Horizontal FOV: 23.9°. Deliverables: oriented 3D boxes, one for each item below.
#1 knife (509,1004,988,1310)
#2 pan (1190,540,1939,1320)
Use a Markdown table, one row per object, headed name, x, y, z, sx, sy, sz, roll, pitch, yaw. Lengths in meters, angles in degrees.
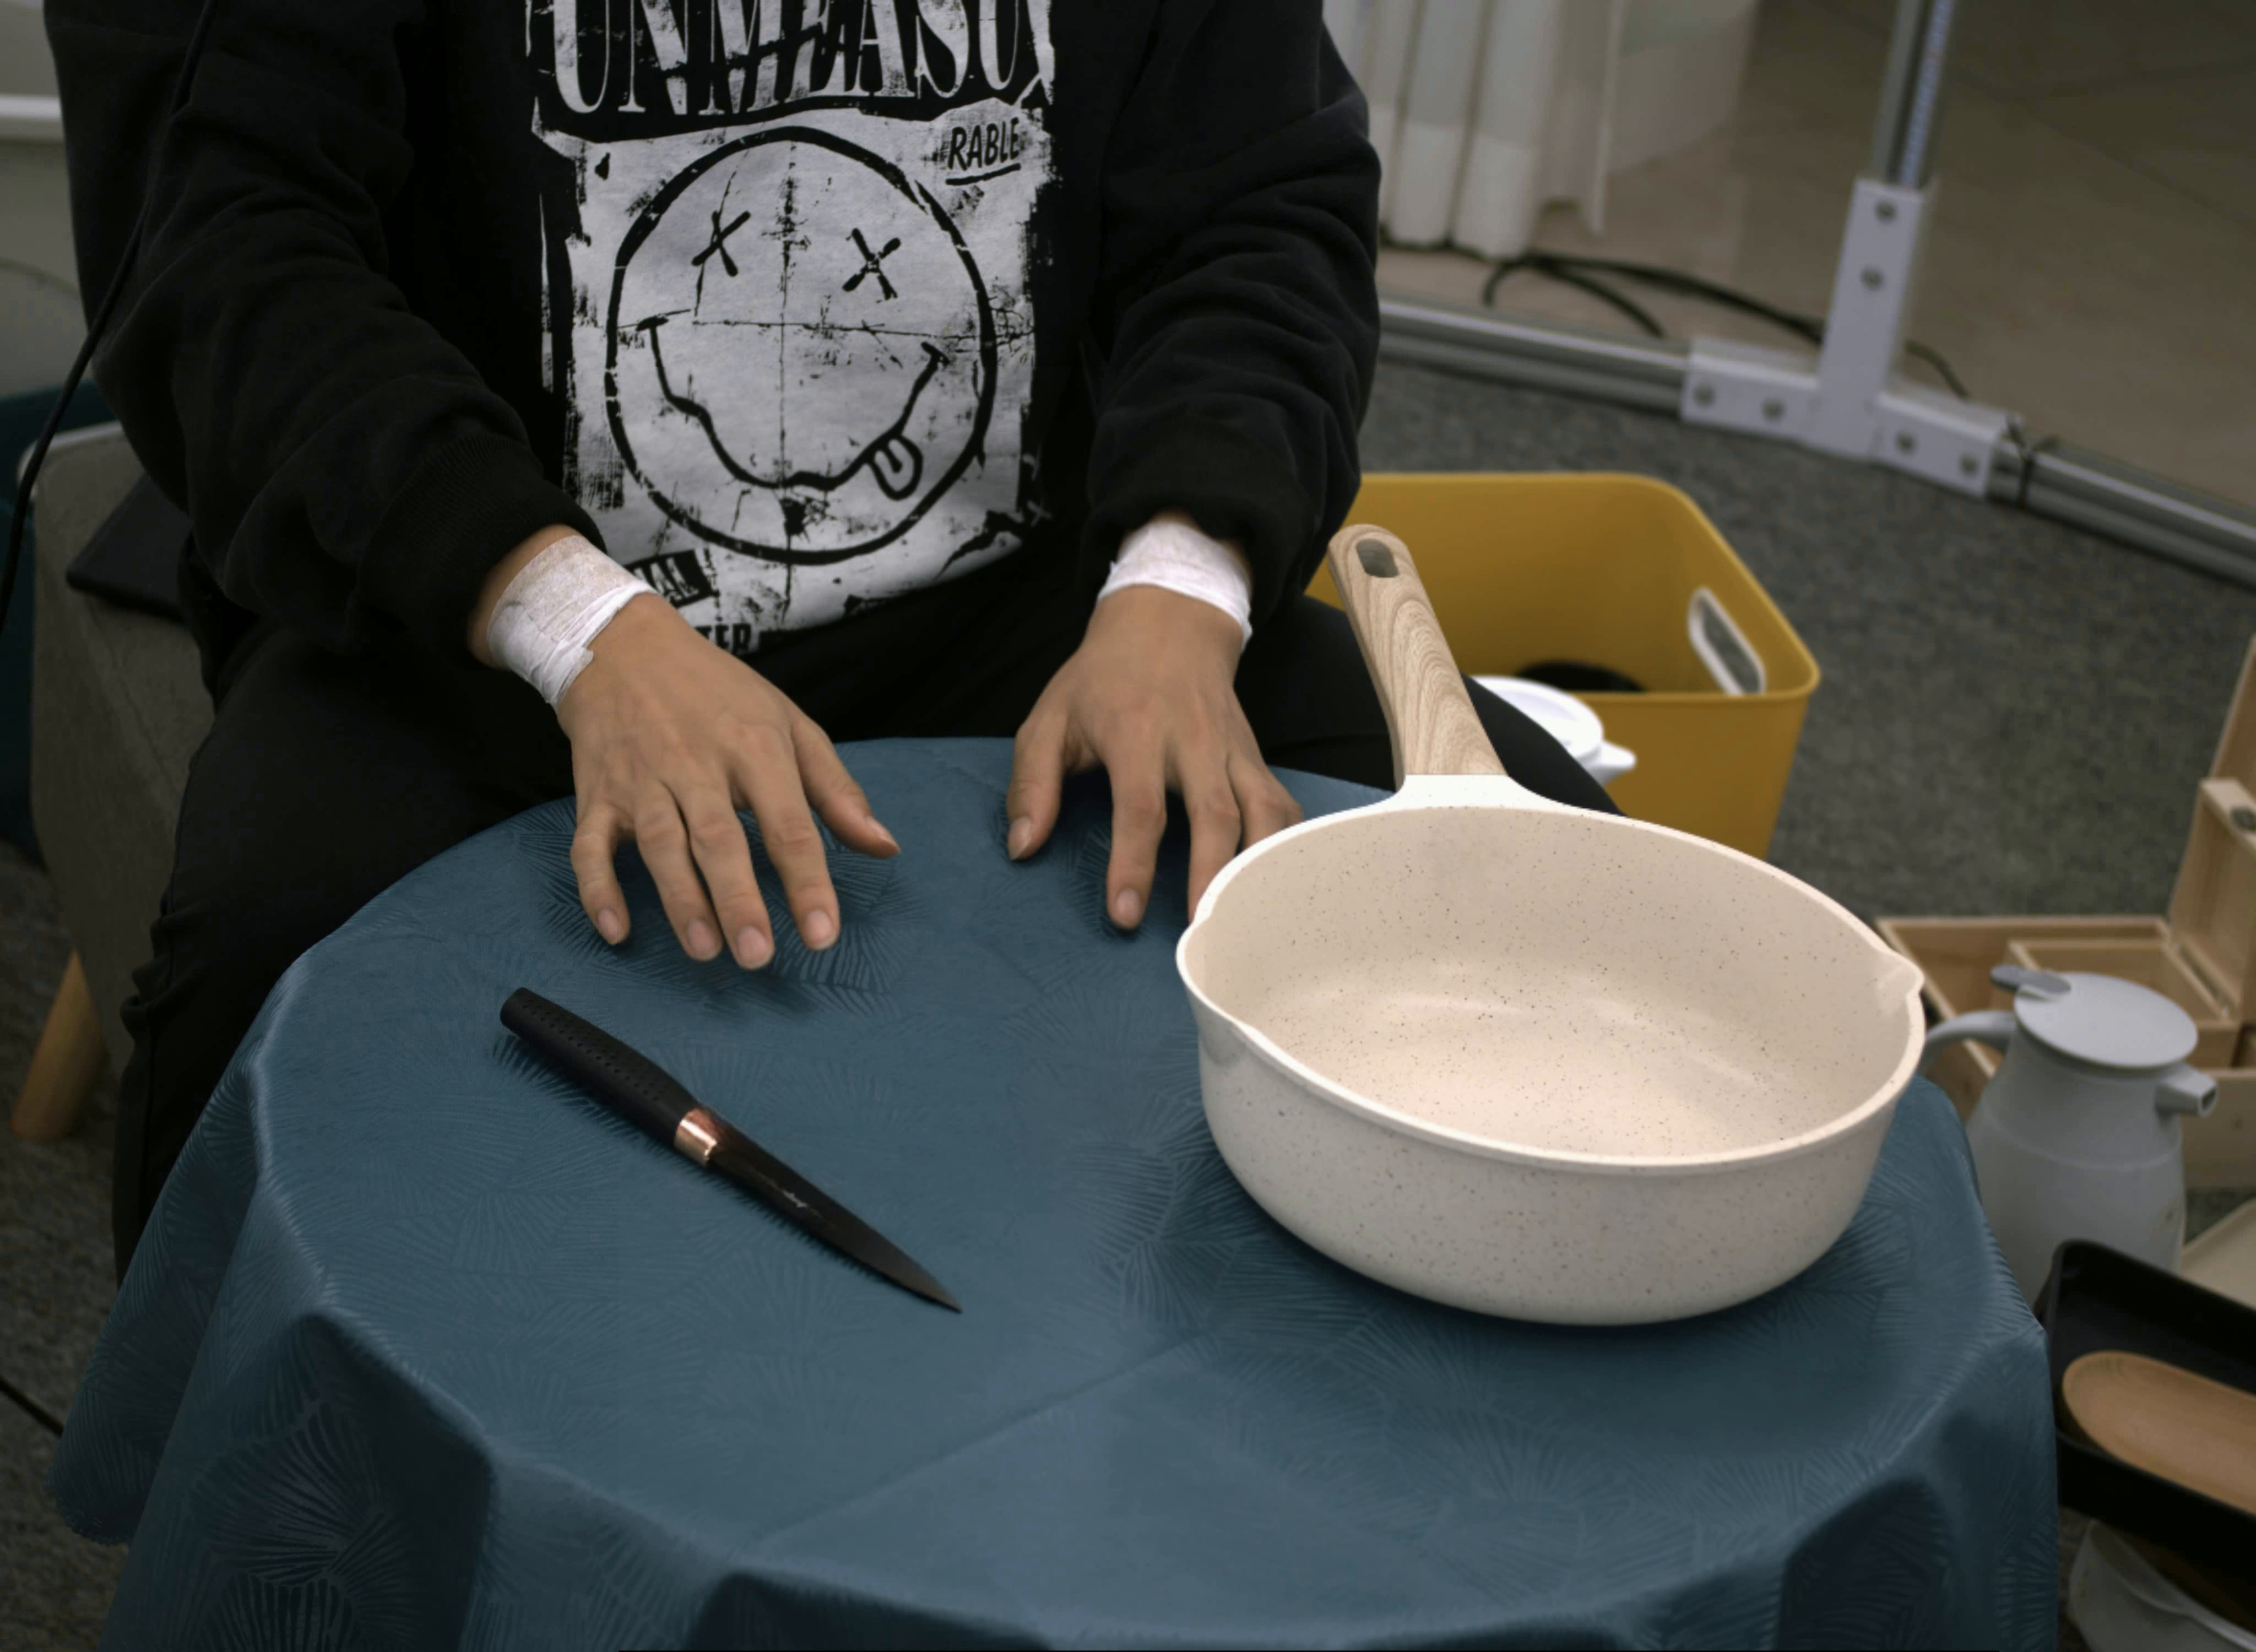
| name | x | y | z | sx | sy | sz | roll | pitch | yaw |
| --- | --- | --- | --- | --- | --- | --- | --- | --- | --- |
| knife | -0.131 | 0.111 | 1.791 | 0.227 | 0.017 | 0.026 | 29 | 18 | 36 |
| pan | 0.128 | 0.034 | 1.901 | 0.262 | 0.101 | 0.438 | -2 | 28 | -12 |
